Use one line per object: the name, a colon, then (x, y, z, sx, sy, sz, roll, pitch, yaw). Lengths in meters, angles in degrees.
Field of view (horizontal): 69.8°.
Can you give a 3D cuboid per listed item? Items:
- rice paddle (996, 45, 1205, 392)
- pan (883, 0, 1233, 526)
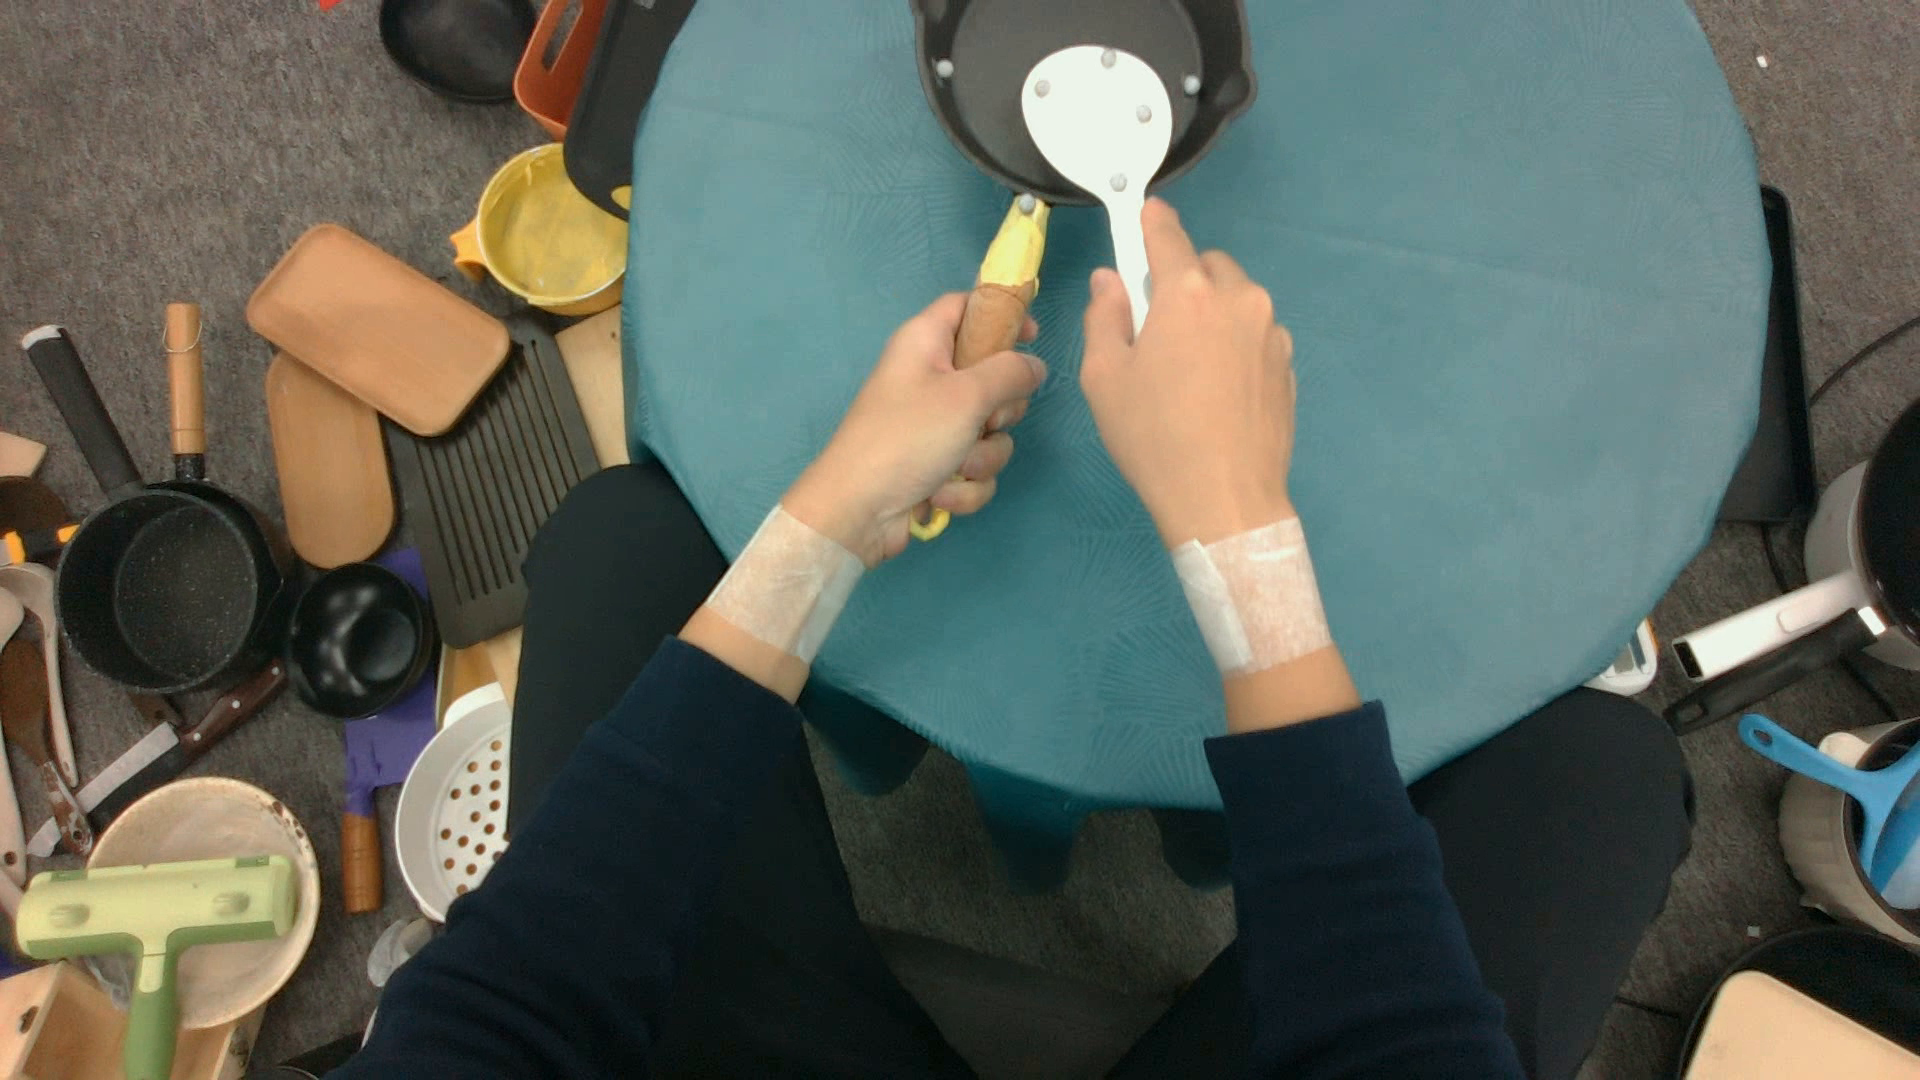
rice paddle: (0.065, -0.158, 0.625, 0.069, 0.029, 0.206, -10, 61, -7)
pan: (0.021, -0.158, 0.645, 0.169, 0.049, 0.324, 19, 80, 1)
